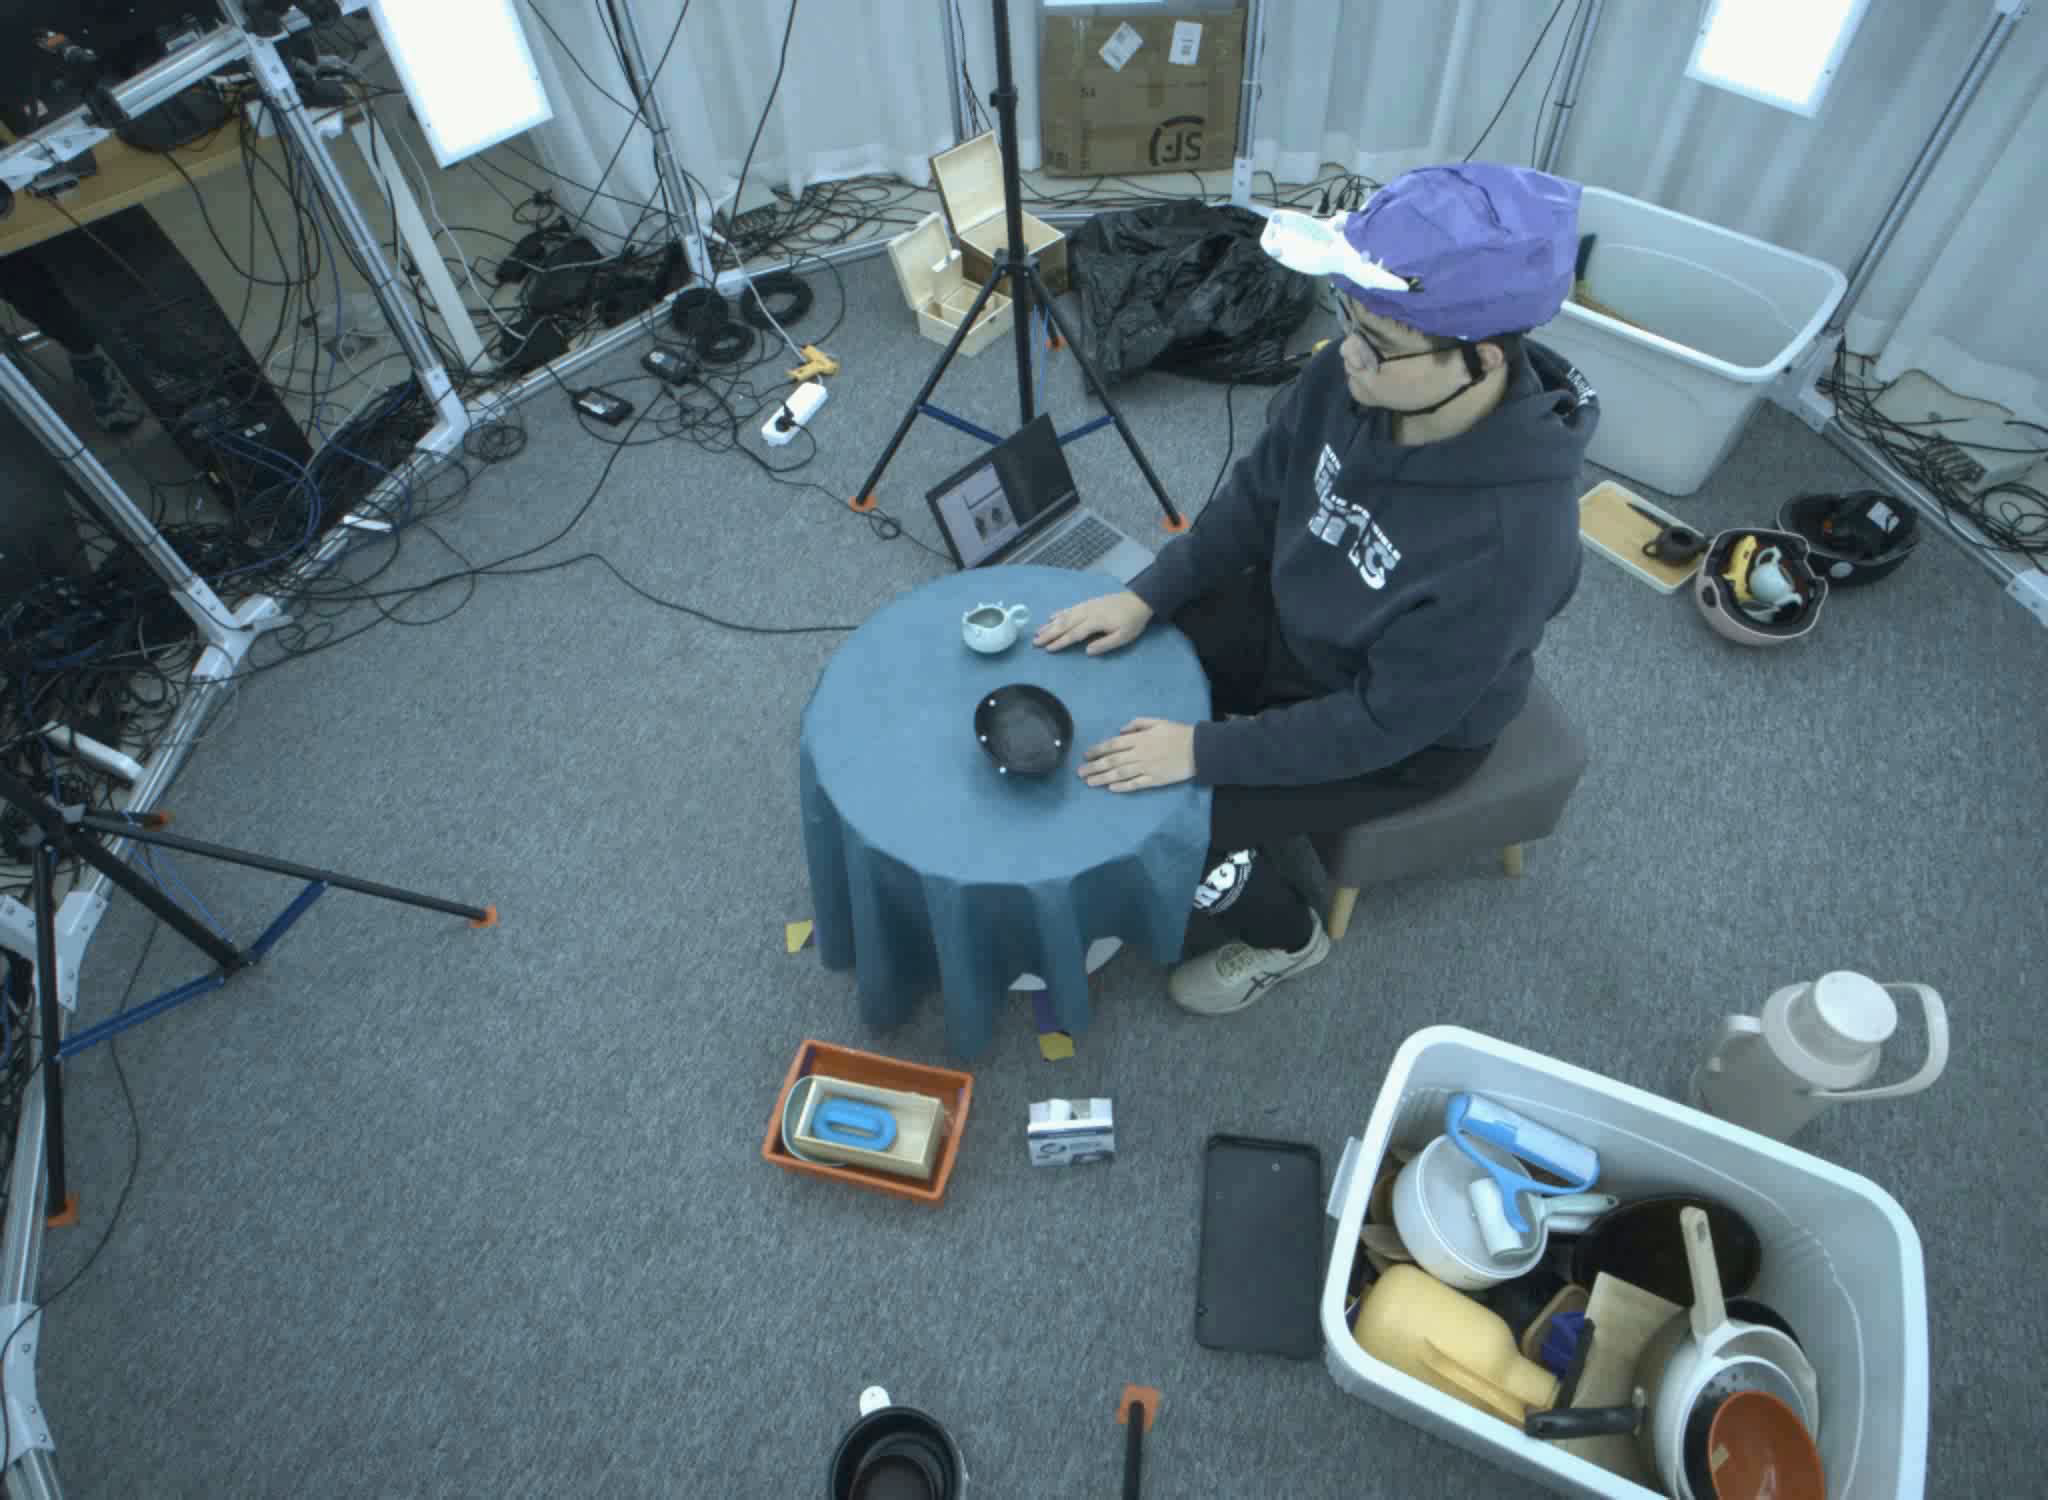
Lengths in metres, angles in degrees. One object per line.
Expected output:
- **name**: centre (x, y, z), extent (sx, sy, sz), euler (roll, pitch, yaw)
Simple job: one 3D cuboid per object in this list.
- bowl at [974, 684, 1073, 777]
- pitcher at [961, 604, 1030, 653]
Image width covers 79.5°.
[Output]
- **bowl**: centre (-0.001, -0.019, 1.763), extent (0.138, 0.067, 0.167), euler (-20, 56, -13)
- **pitcher**: centre (-0.044, -0.193, 1.891), extent (0.109, 0.061, 0.084), euler (-13, 56, -9)
